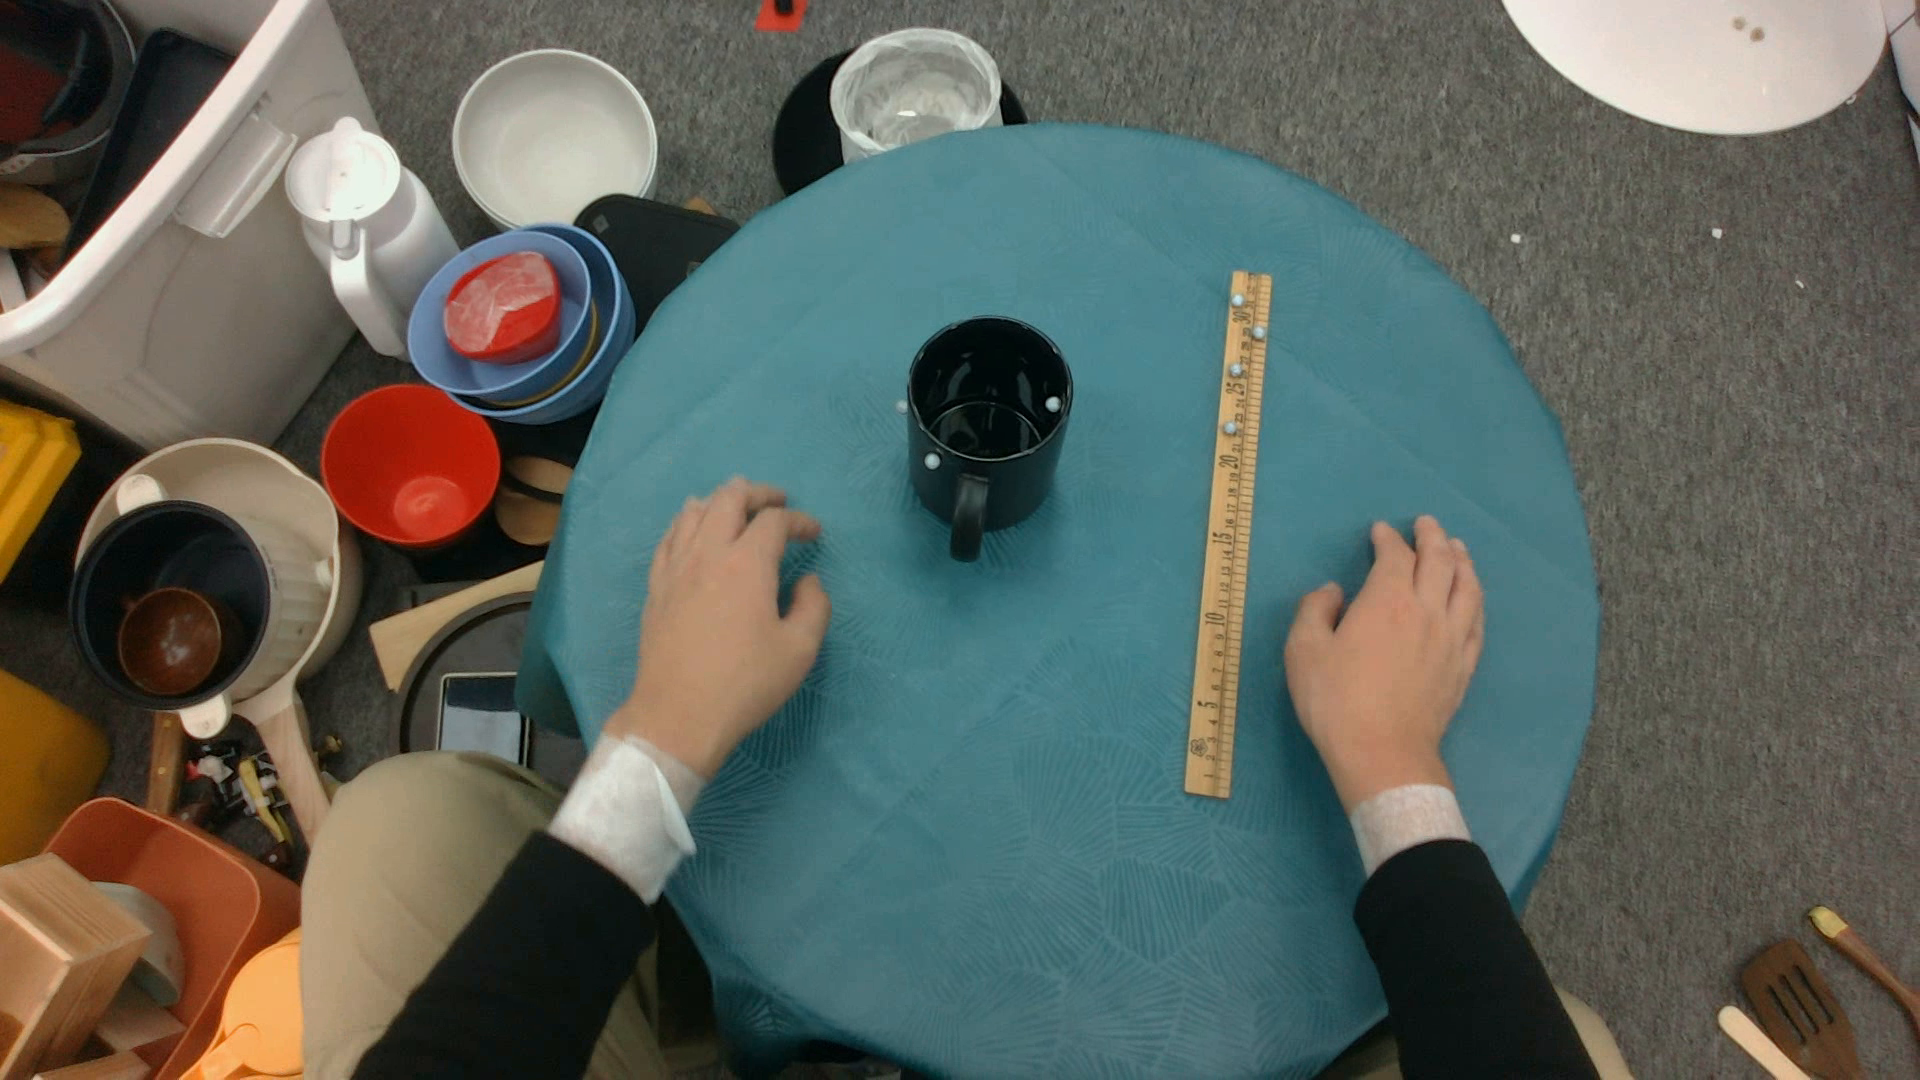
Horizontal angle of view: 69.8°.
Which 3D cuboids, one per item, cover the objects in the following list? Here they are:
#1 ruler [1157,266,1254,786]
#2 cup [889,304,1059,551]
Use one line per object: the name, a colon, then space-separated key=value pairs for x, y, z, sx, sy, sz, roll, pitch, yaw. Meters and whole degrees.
ruler: x=0.147 y=-0.021 z=0.806 sx=0.027 sy=0.022 sz=0.333 roll=8 pitch=68 yaw=6
cup: x=0.002 y=-0.053 z=0.762 sx=0.088 sy=0.105 sz=0.124 roll=11 pitch=69 yaw=0
